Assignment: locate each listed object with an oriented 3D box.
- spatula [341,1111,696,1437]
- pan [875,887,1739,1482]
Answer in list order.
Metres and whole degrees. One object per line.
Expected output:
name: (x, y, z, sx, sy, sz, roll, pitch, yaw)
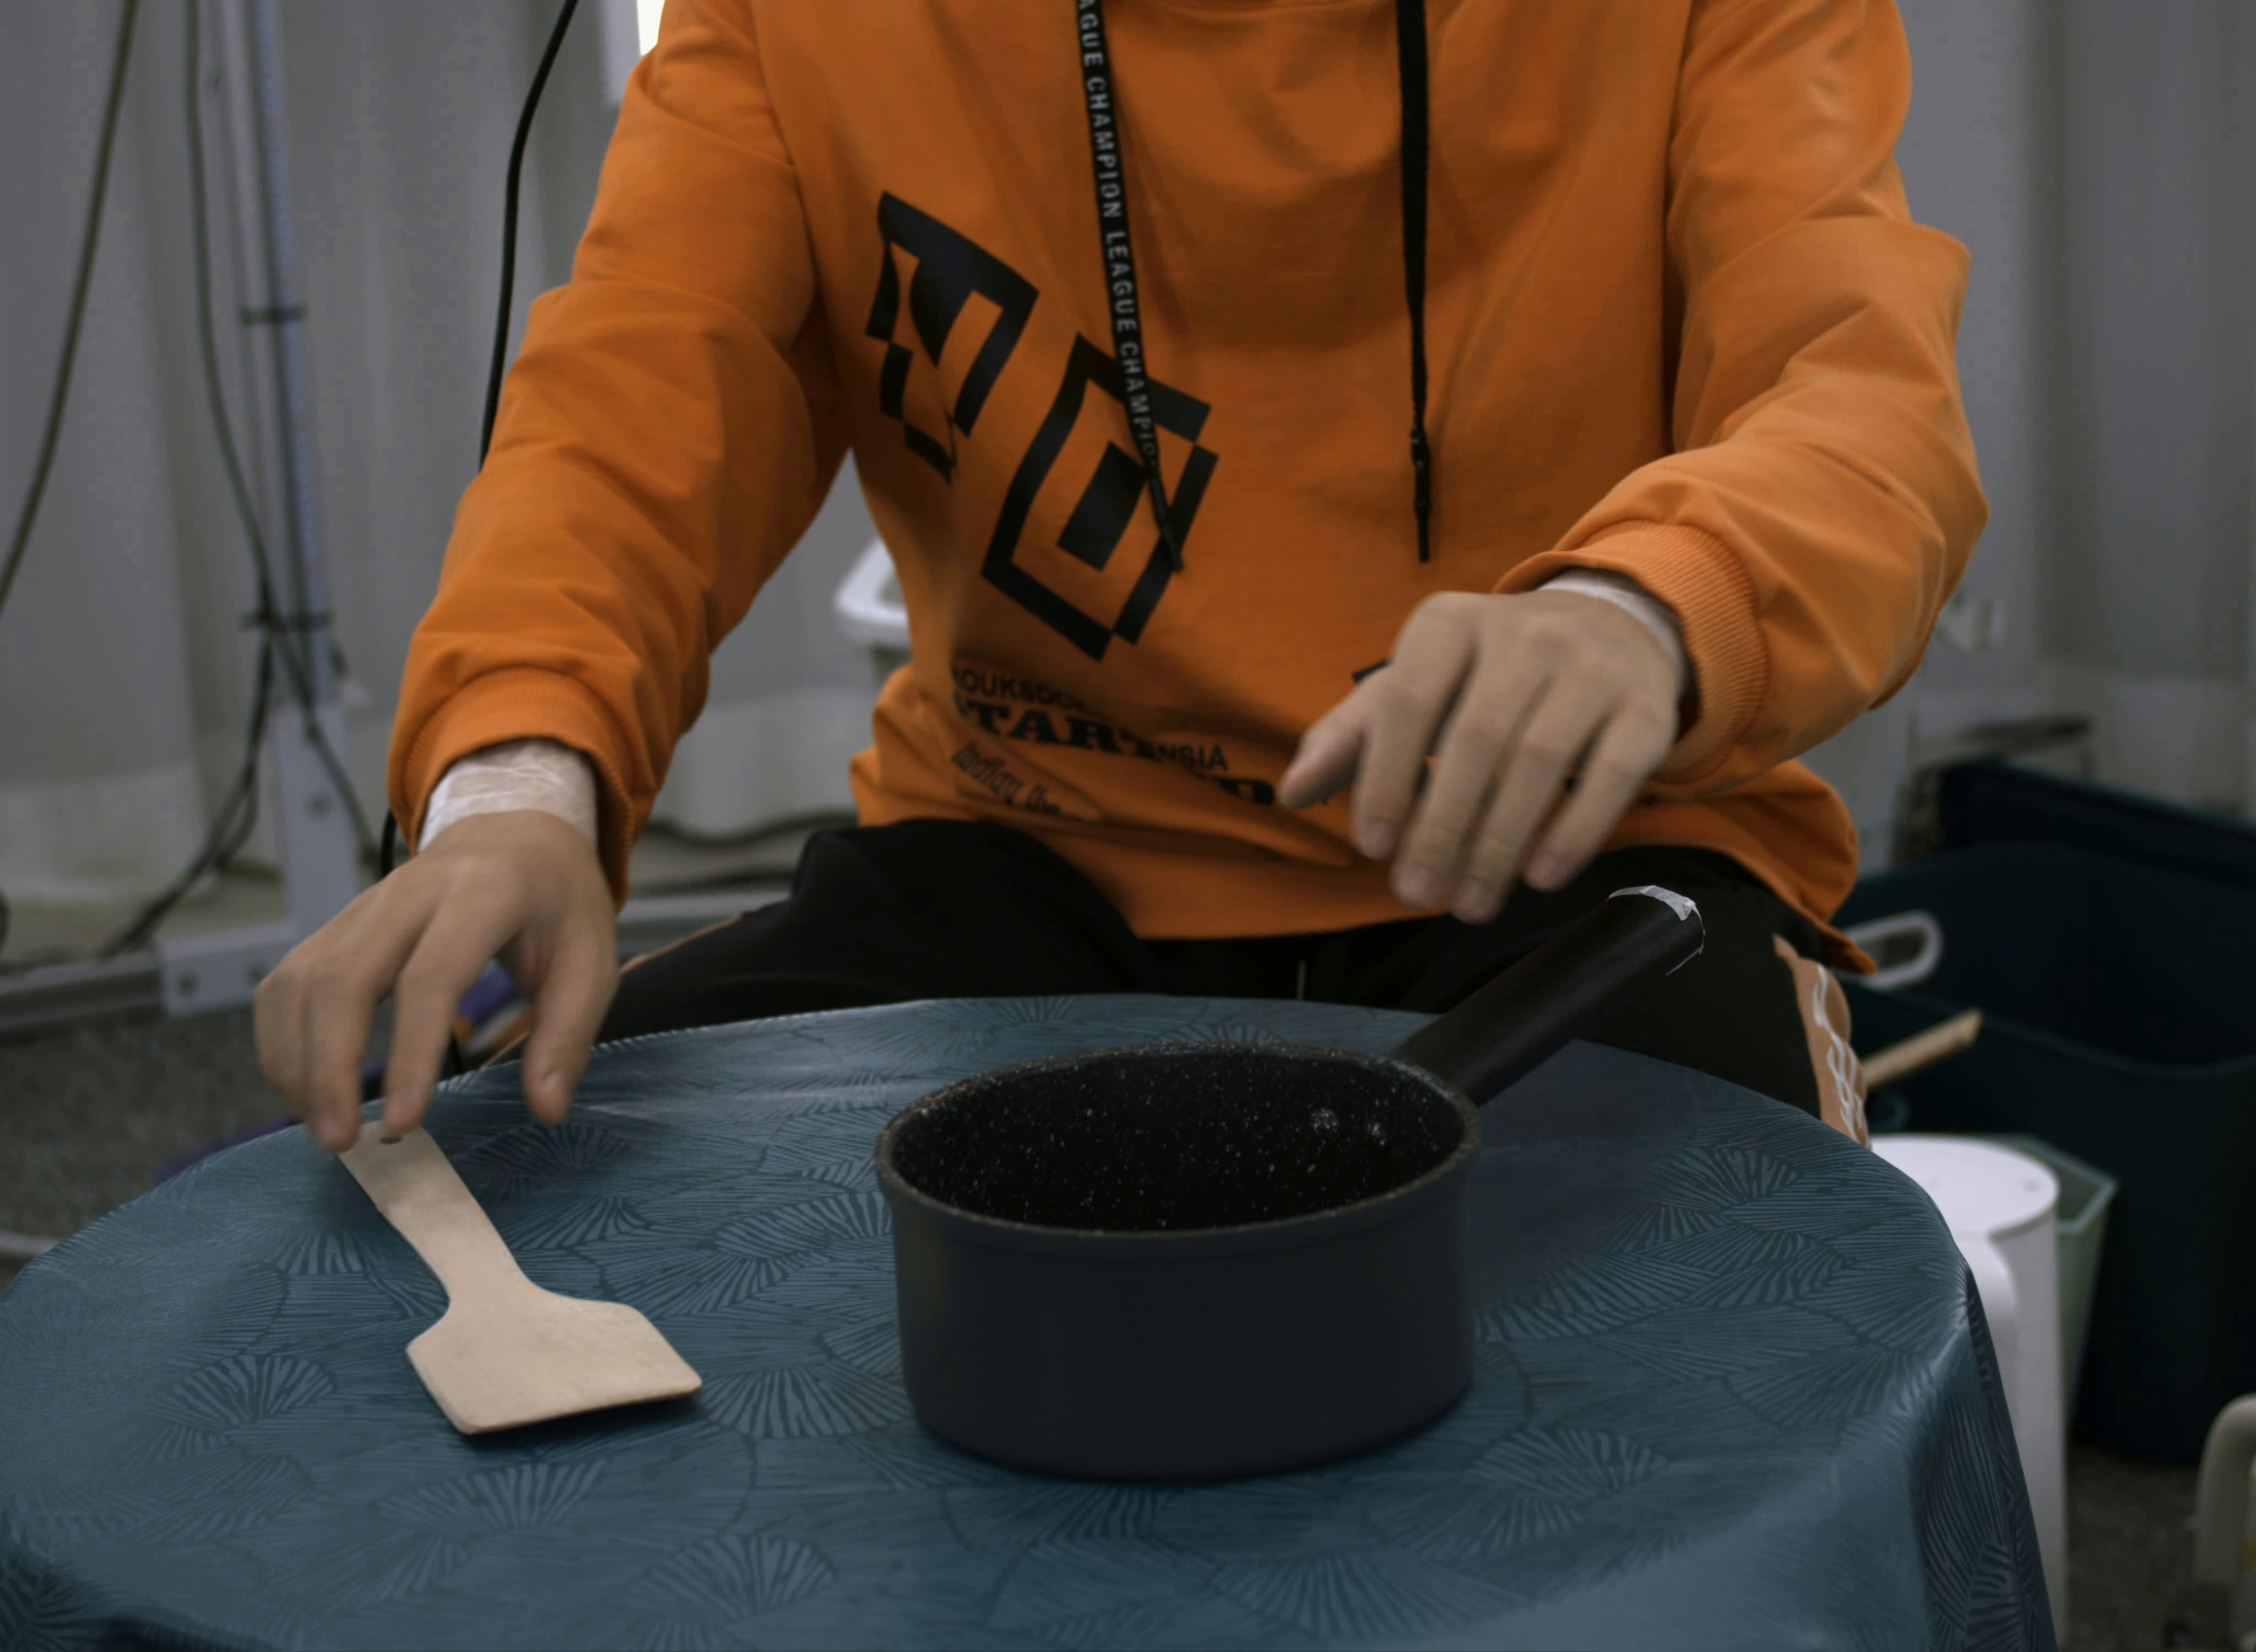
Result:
spatula: (-0.201, 0.133, 1.669, 0.072, 0.010, 0.295, -11, 17, -17)
pan: (0.069, 0.100, 1.595, 0.173, 0.086, 0.328, 11, 22, 41)
